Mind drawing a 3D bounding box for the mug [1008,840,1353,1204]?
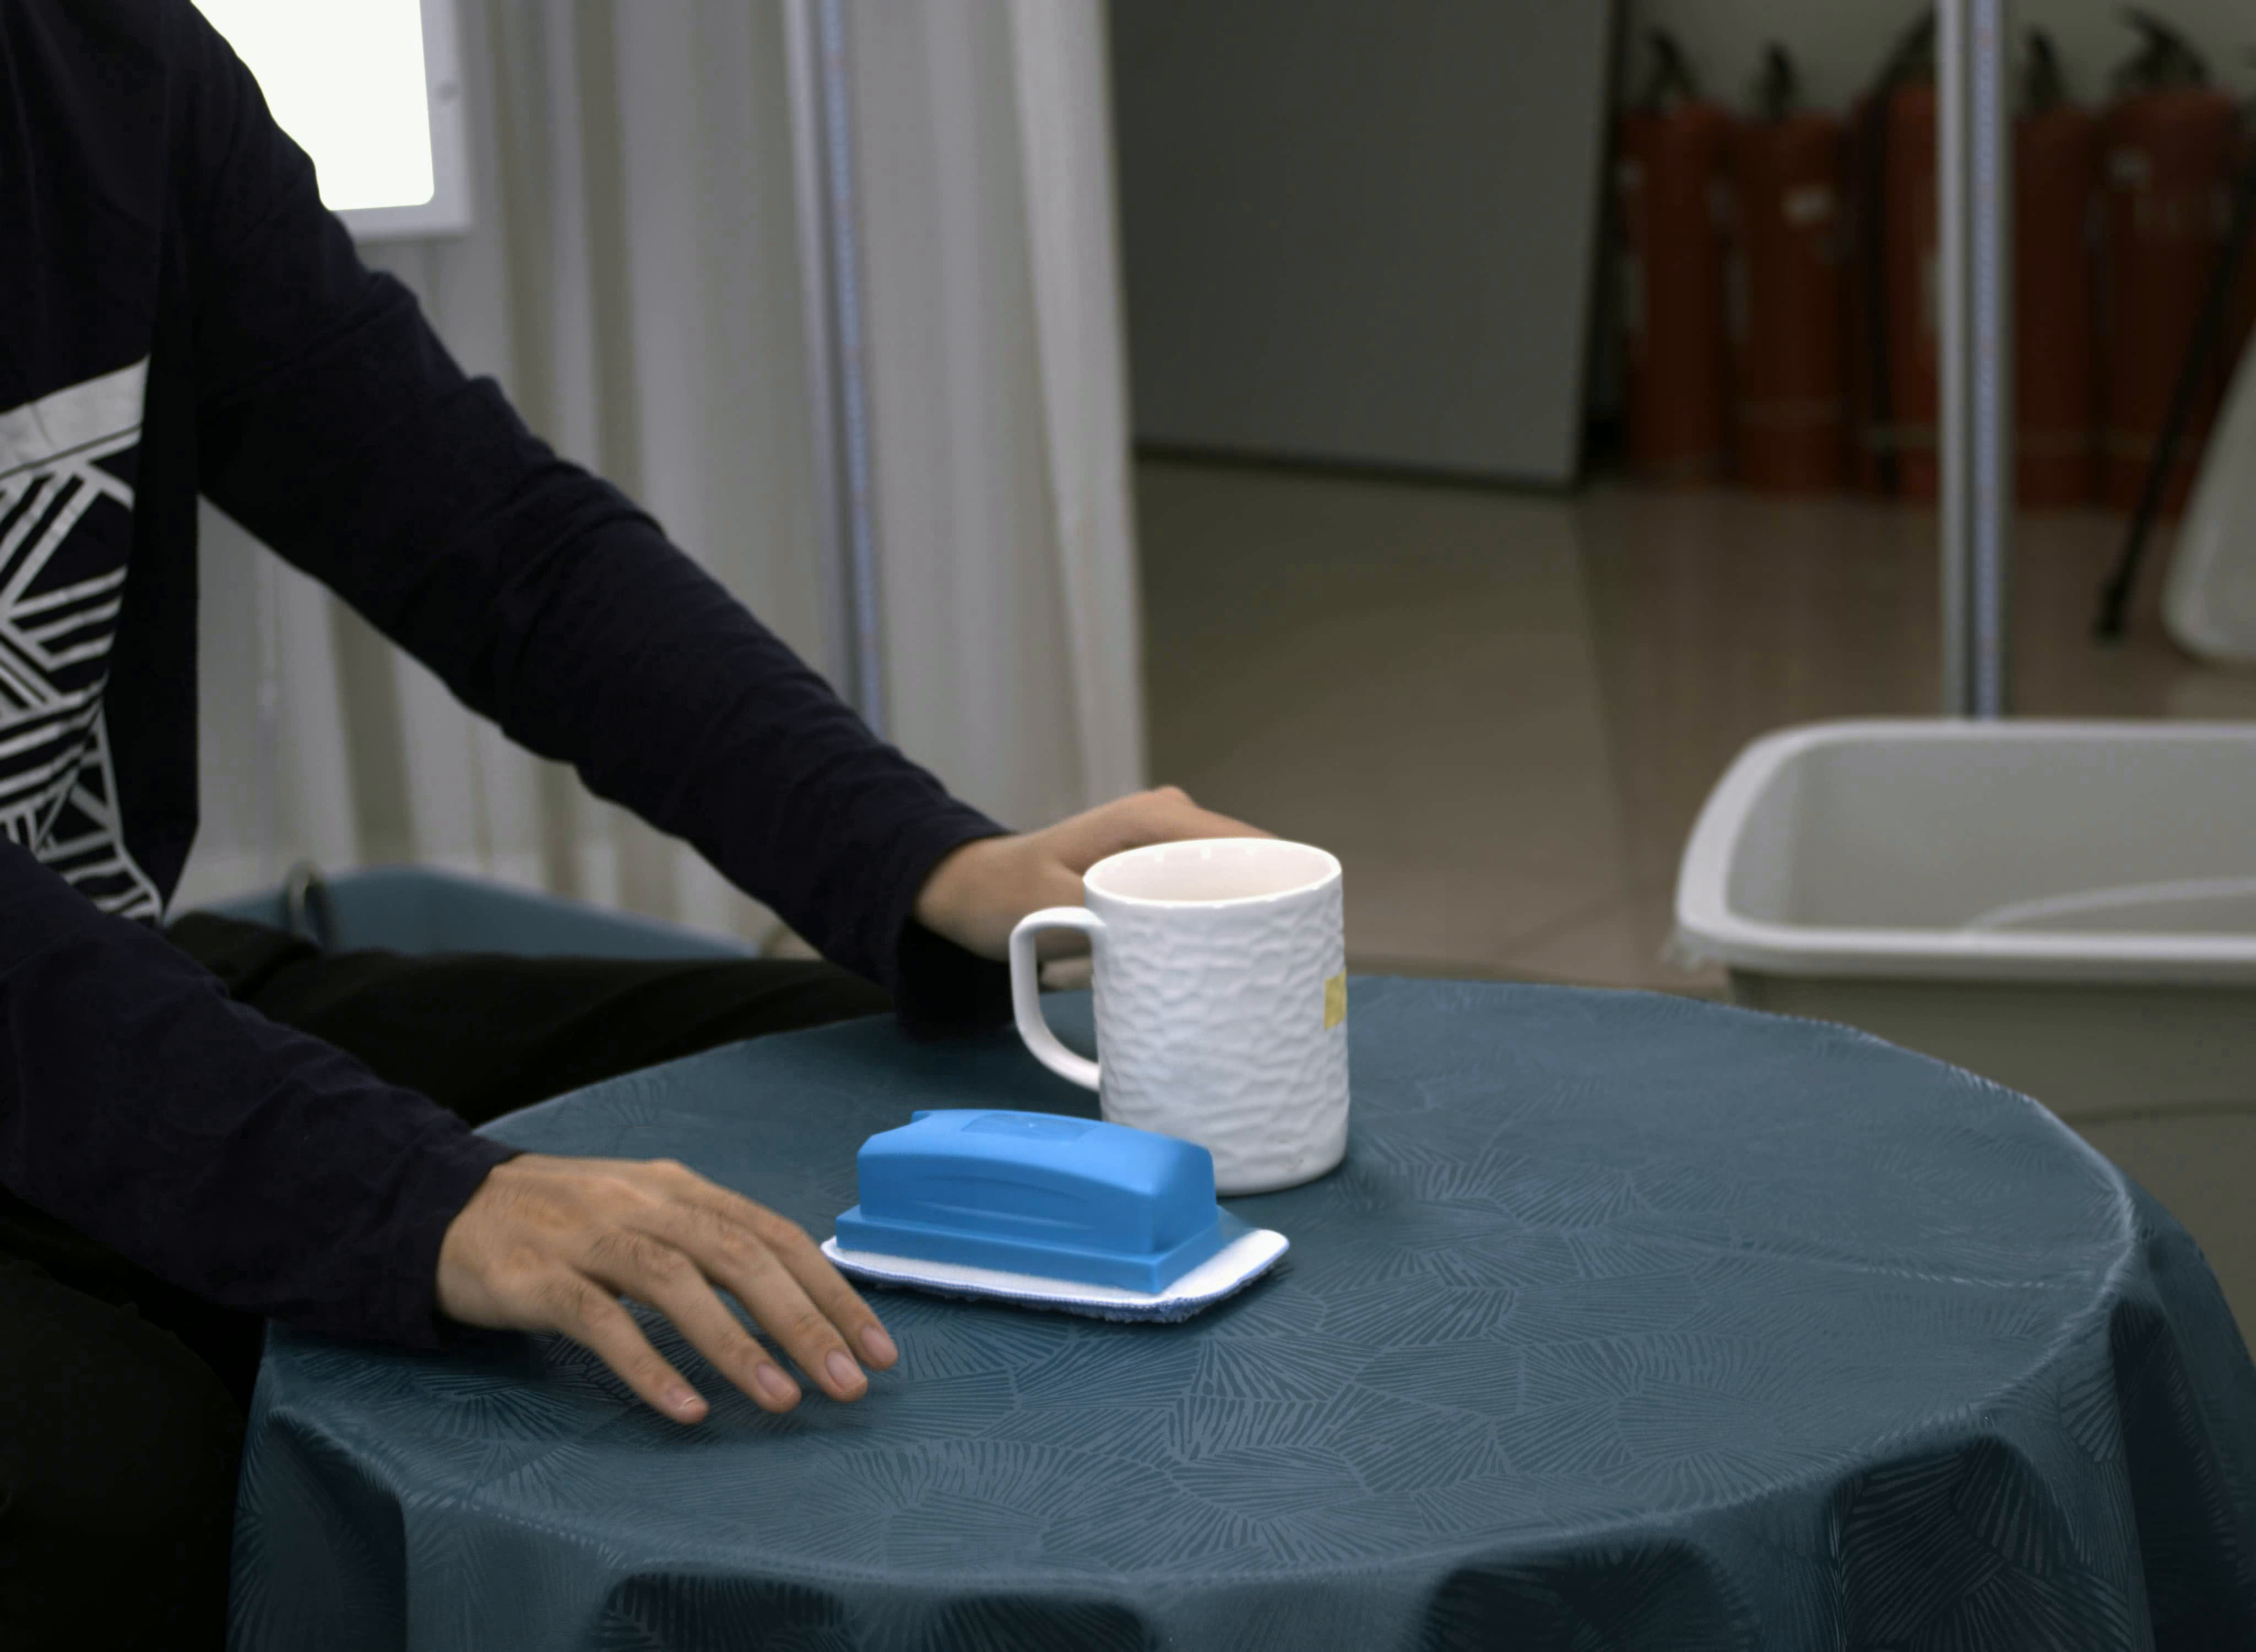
[{"bbox_3d":[0.016,0.064,1.792,0.118,0.103,0.084,1,14,23],"label":"mug"}]

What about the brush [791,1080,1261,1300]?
[{"bbox_3d":[-0.032,0.113,1.692,0.145,0.056,0.082,8,15,34],"label":"brush"}]
